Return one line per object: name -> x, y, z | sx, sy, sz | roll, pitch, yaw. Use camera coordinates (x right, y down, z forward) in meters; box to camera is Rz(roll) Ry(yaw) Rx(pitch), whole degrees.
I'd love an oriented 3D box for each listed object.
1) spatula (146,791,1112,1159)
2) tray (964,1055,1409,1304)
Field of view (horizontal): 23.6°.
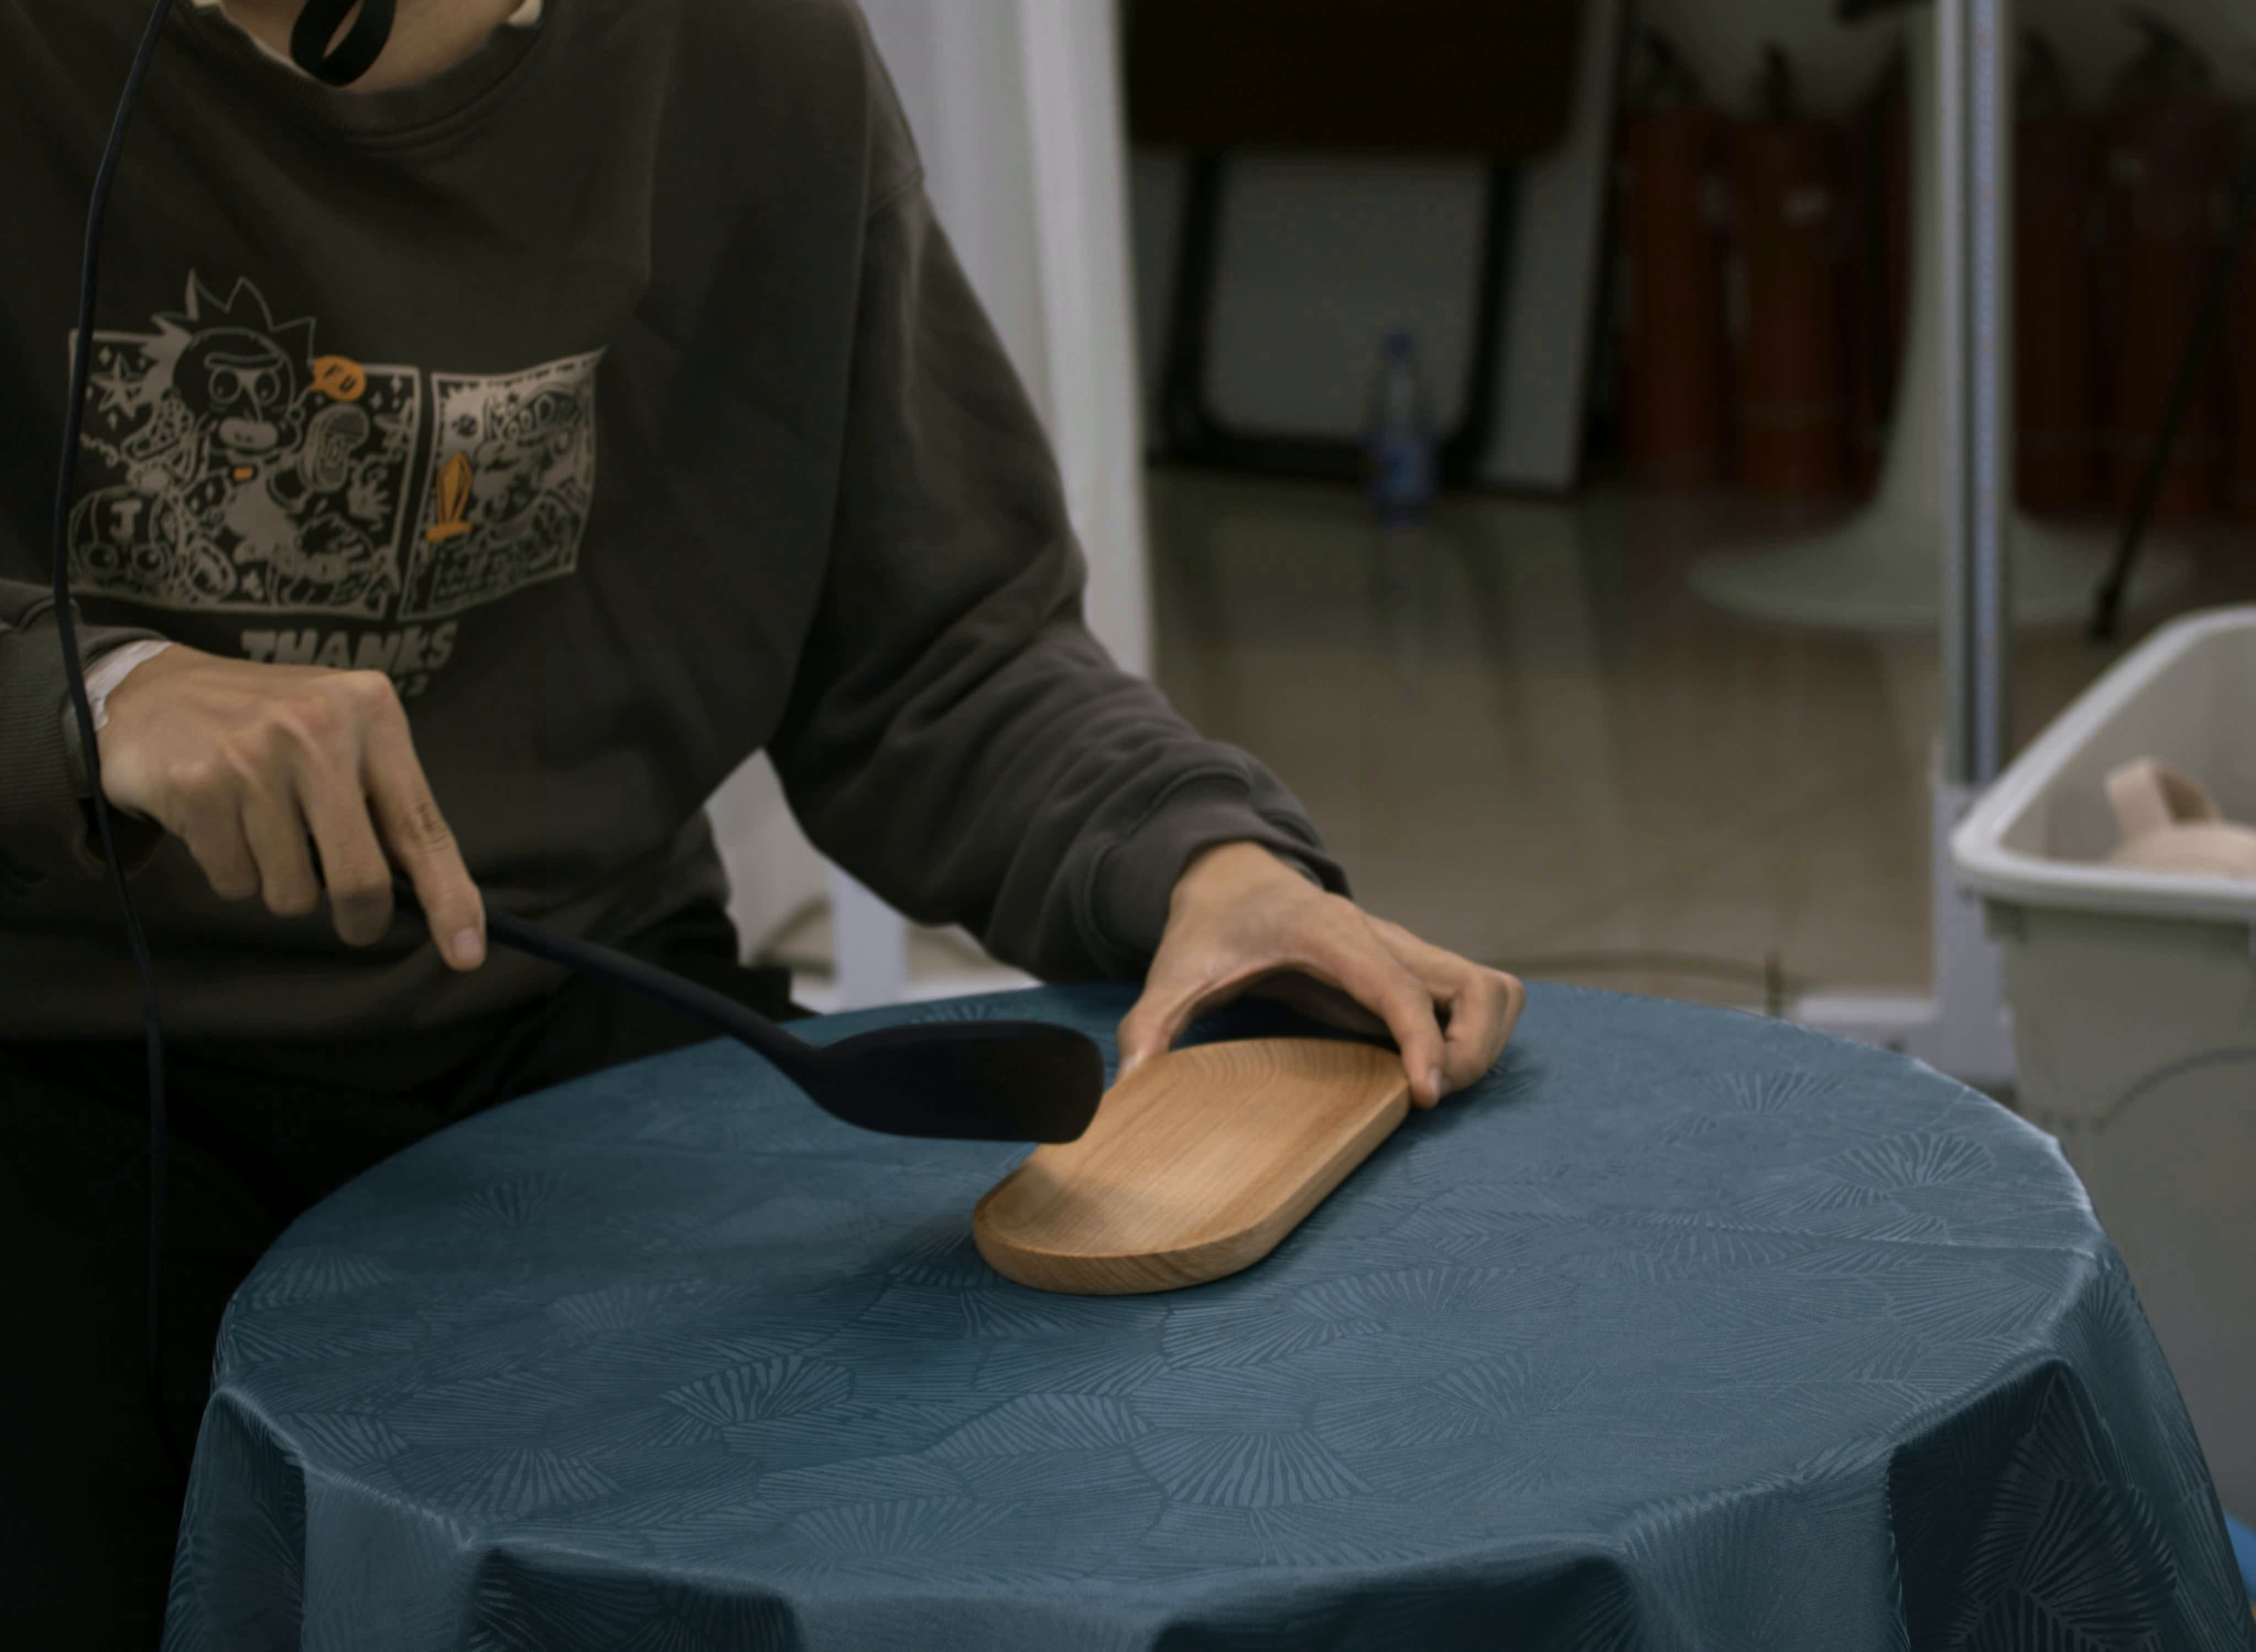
spatula -> -0.161, 0.040, 1.729 | 0.324, 0.100, 0.040 | 22, 62, 8
tray -> 0.022, 0.114, 1.768 | 0.101, 0.020, 0.228 | 0, 15, 22
